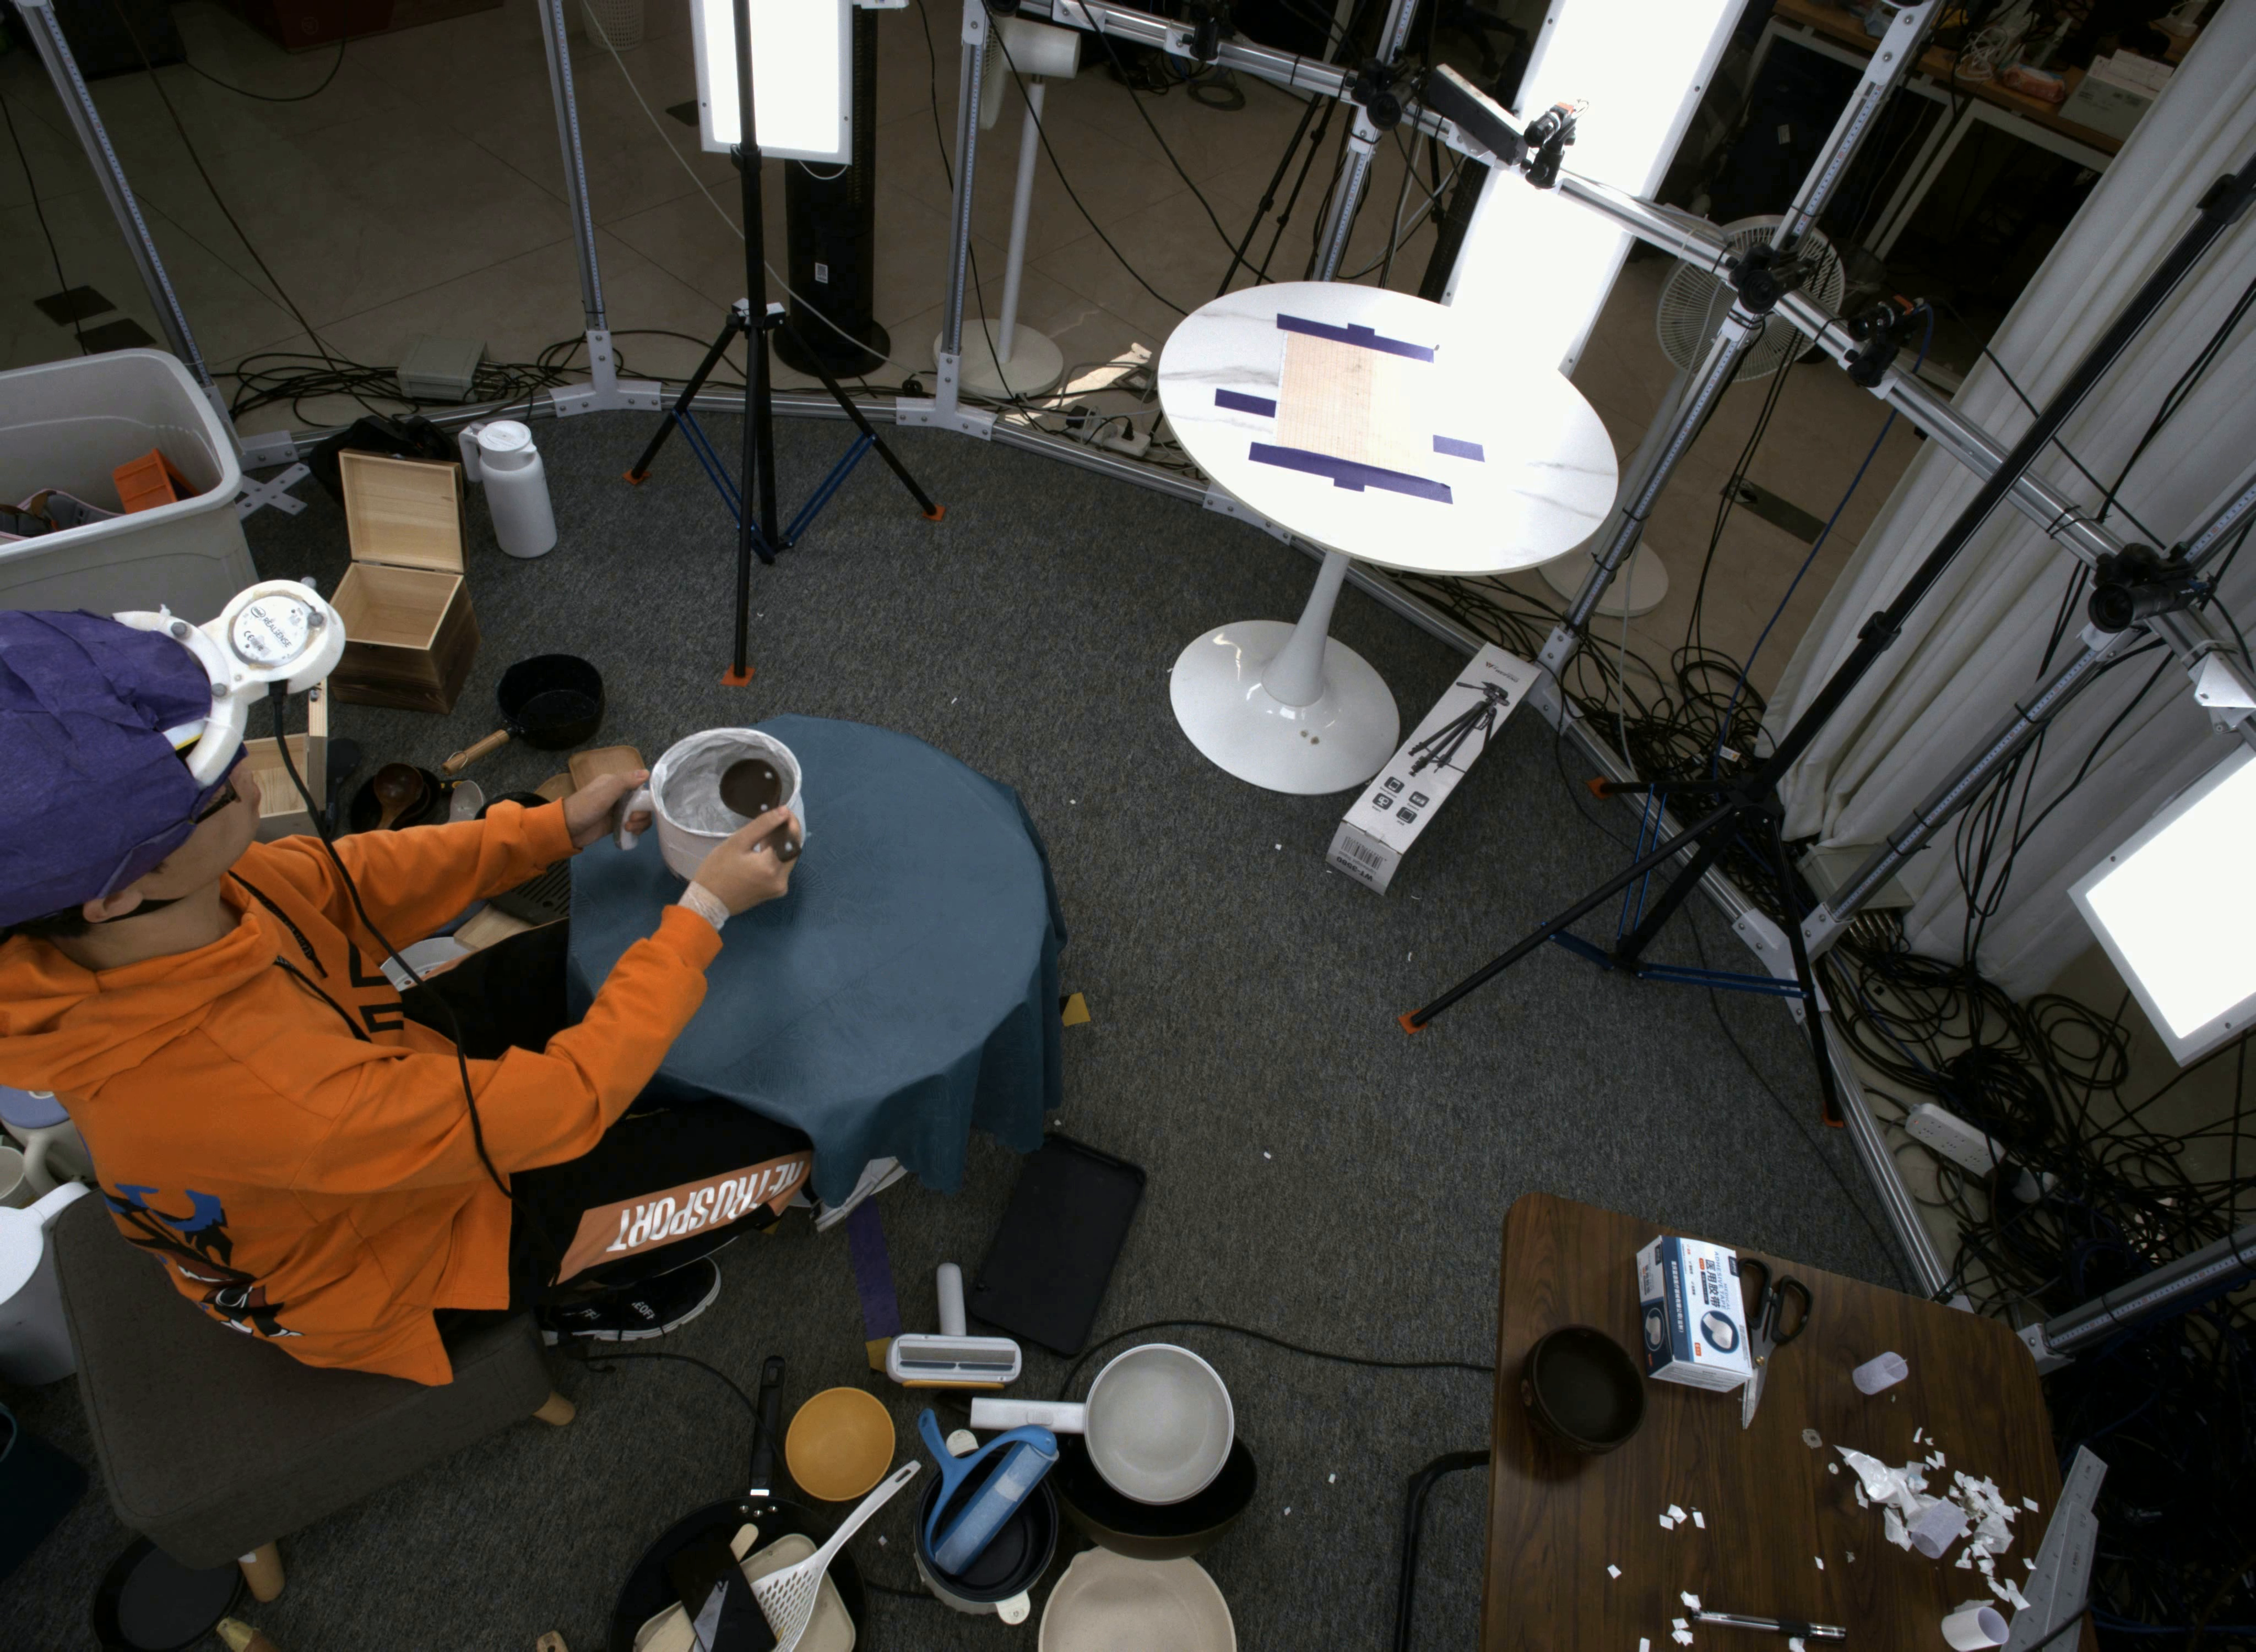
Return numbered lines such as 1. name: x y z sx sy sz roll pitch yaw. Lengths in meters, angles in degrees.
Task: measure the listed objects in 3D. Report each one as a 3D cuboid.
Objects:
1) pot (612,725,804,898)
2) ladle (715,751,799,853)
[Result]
1. pot: -0.511 -0.014 1.559 0.234 0.140 0.174 -2 50 -13
2. ladle: -0.412 -0.032 1.439 0.076 0.266 0.073 -34 111 -13
